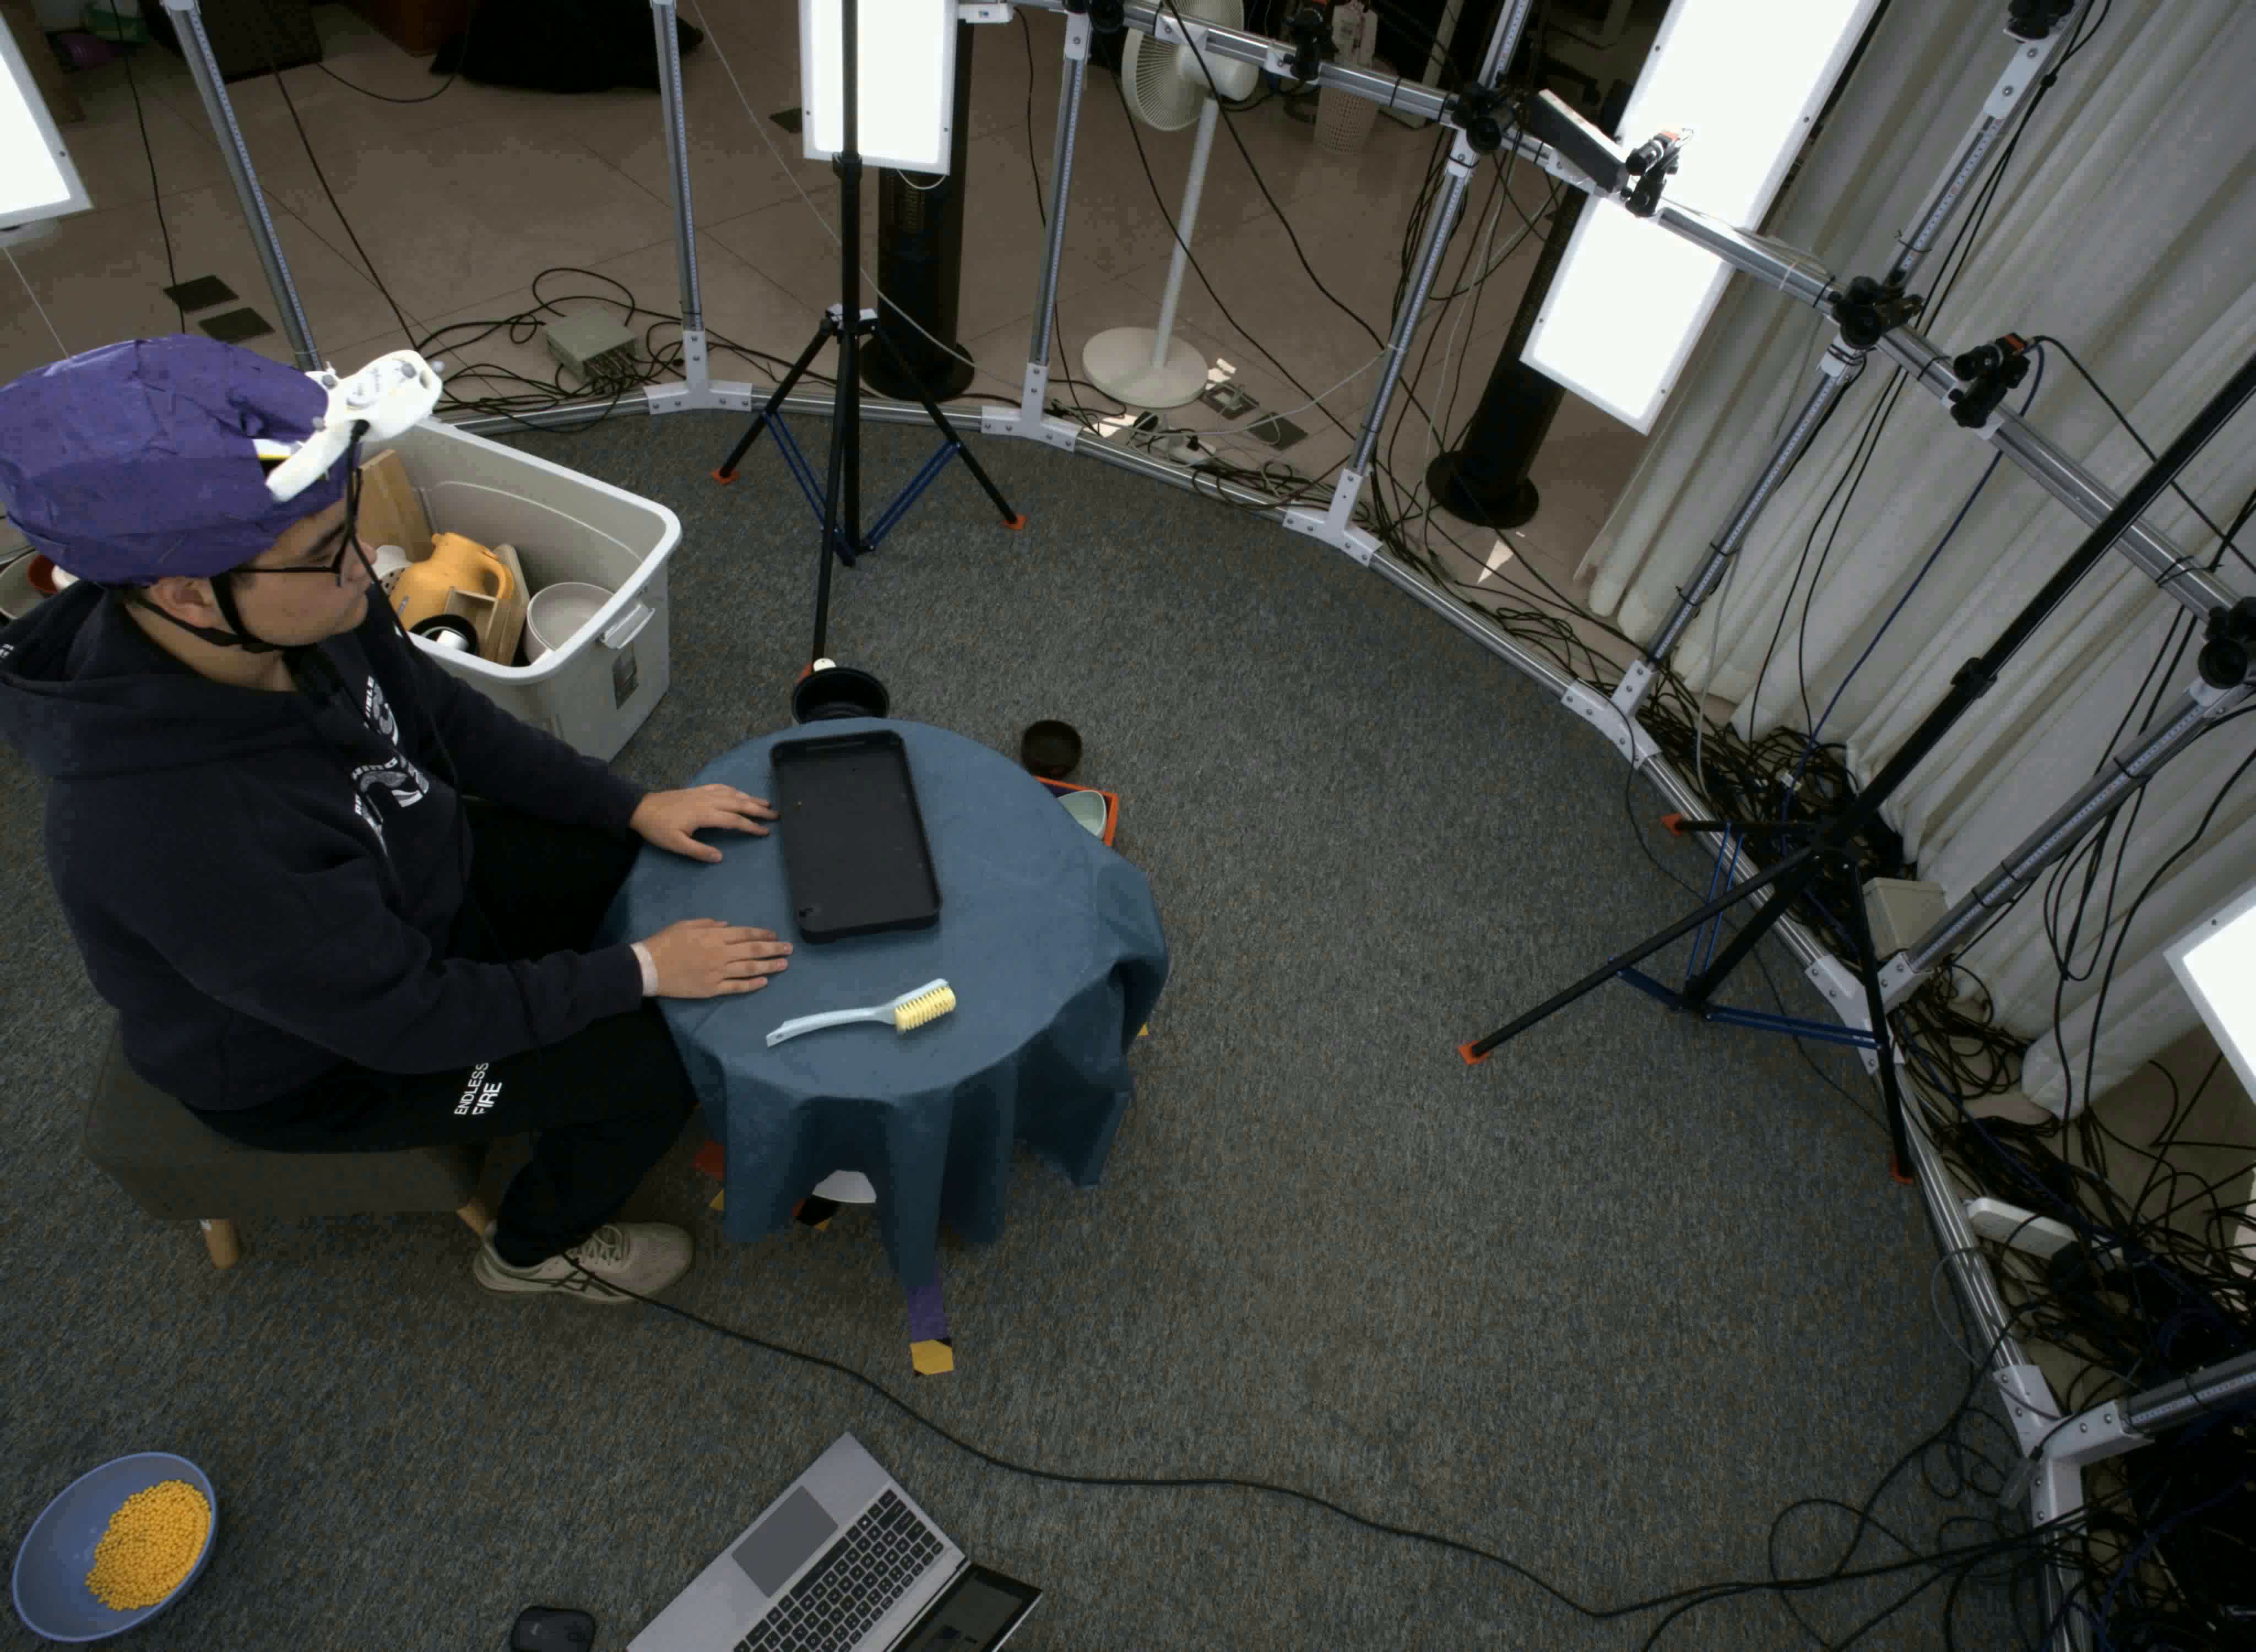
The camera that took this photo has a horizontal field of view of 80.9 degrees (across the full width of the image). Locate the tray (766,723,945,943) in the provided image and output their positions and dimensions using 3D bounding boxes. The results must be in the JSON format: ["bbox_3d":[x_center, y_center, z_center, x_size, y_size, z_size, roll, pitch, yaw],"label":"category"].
[{"bbox_3d":[-0.362,0.002,1.711,0.185,0.038,0.310,-9,57,-19],"label":"tray"}]

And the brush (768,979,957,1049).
[{"bbox_3d":[-0.315,0.230,1.550,0.230,0.039,0.048,-12,49,-22],"label":"brush"}]
